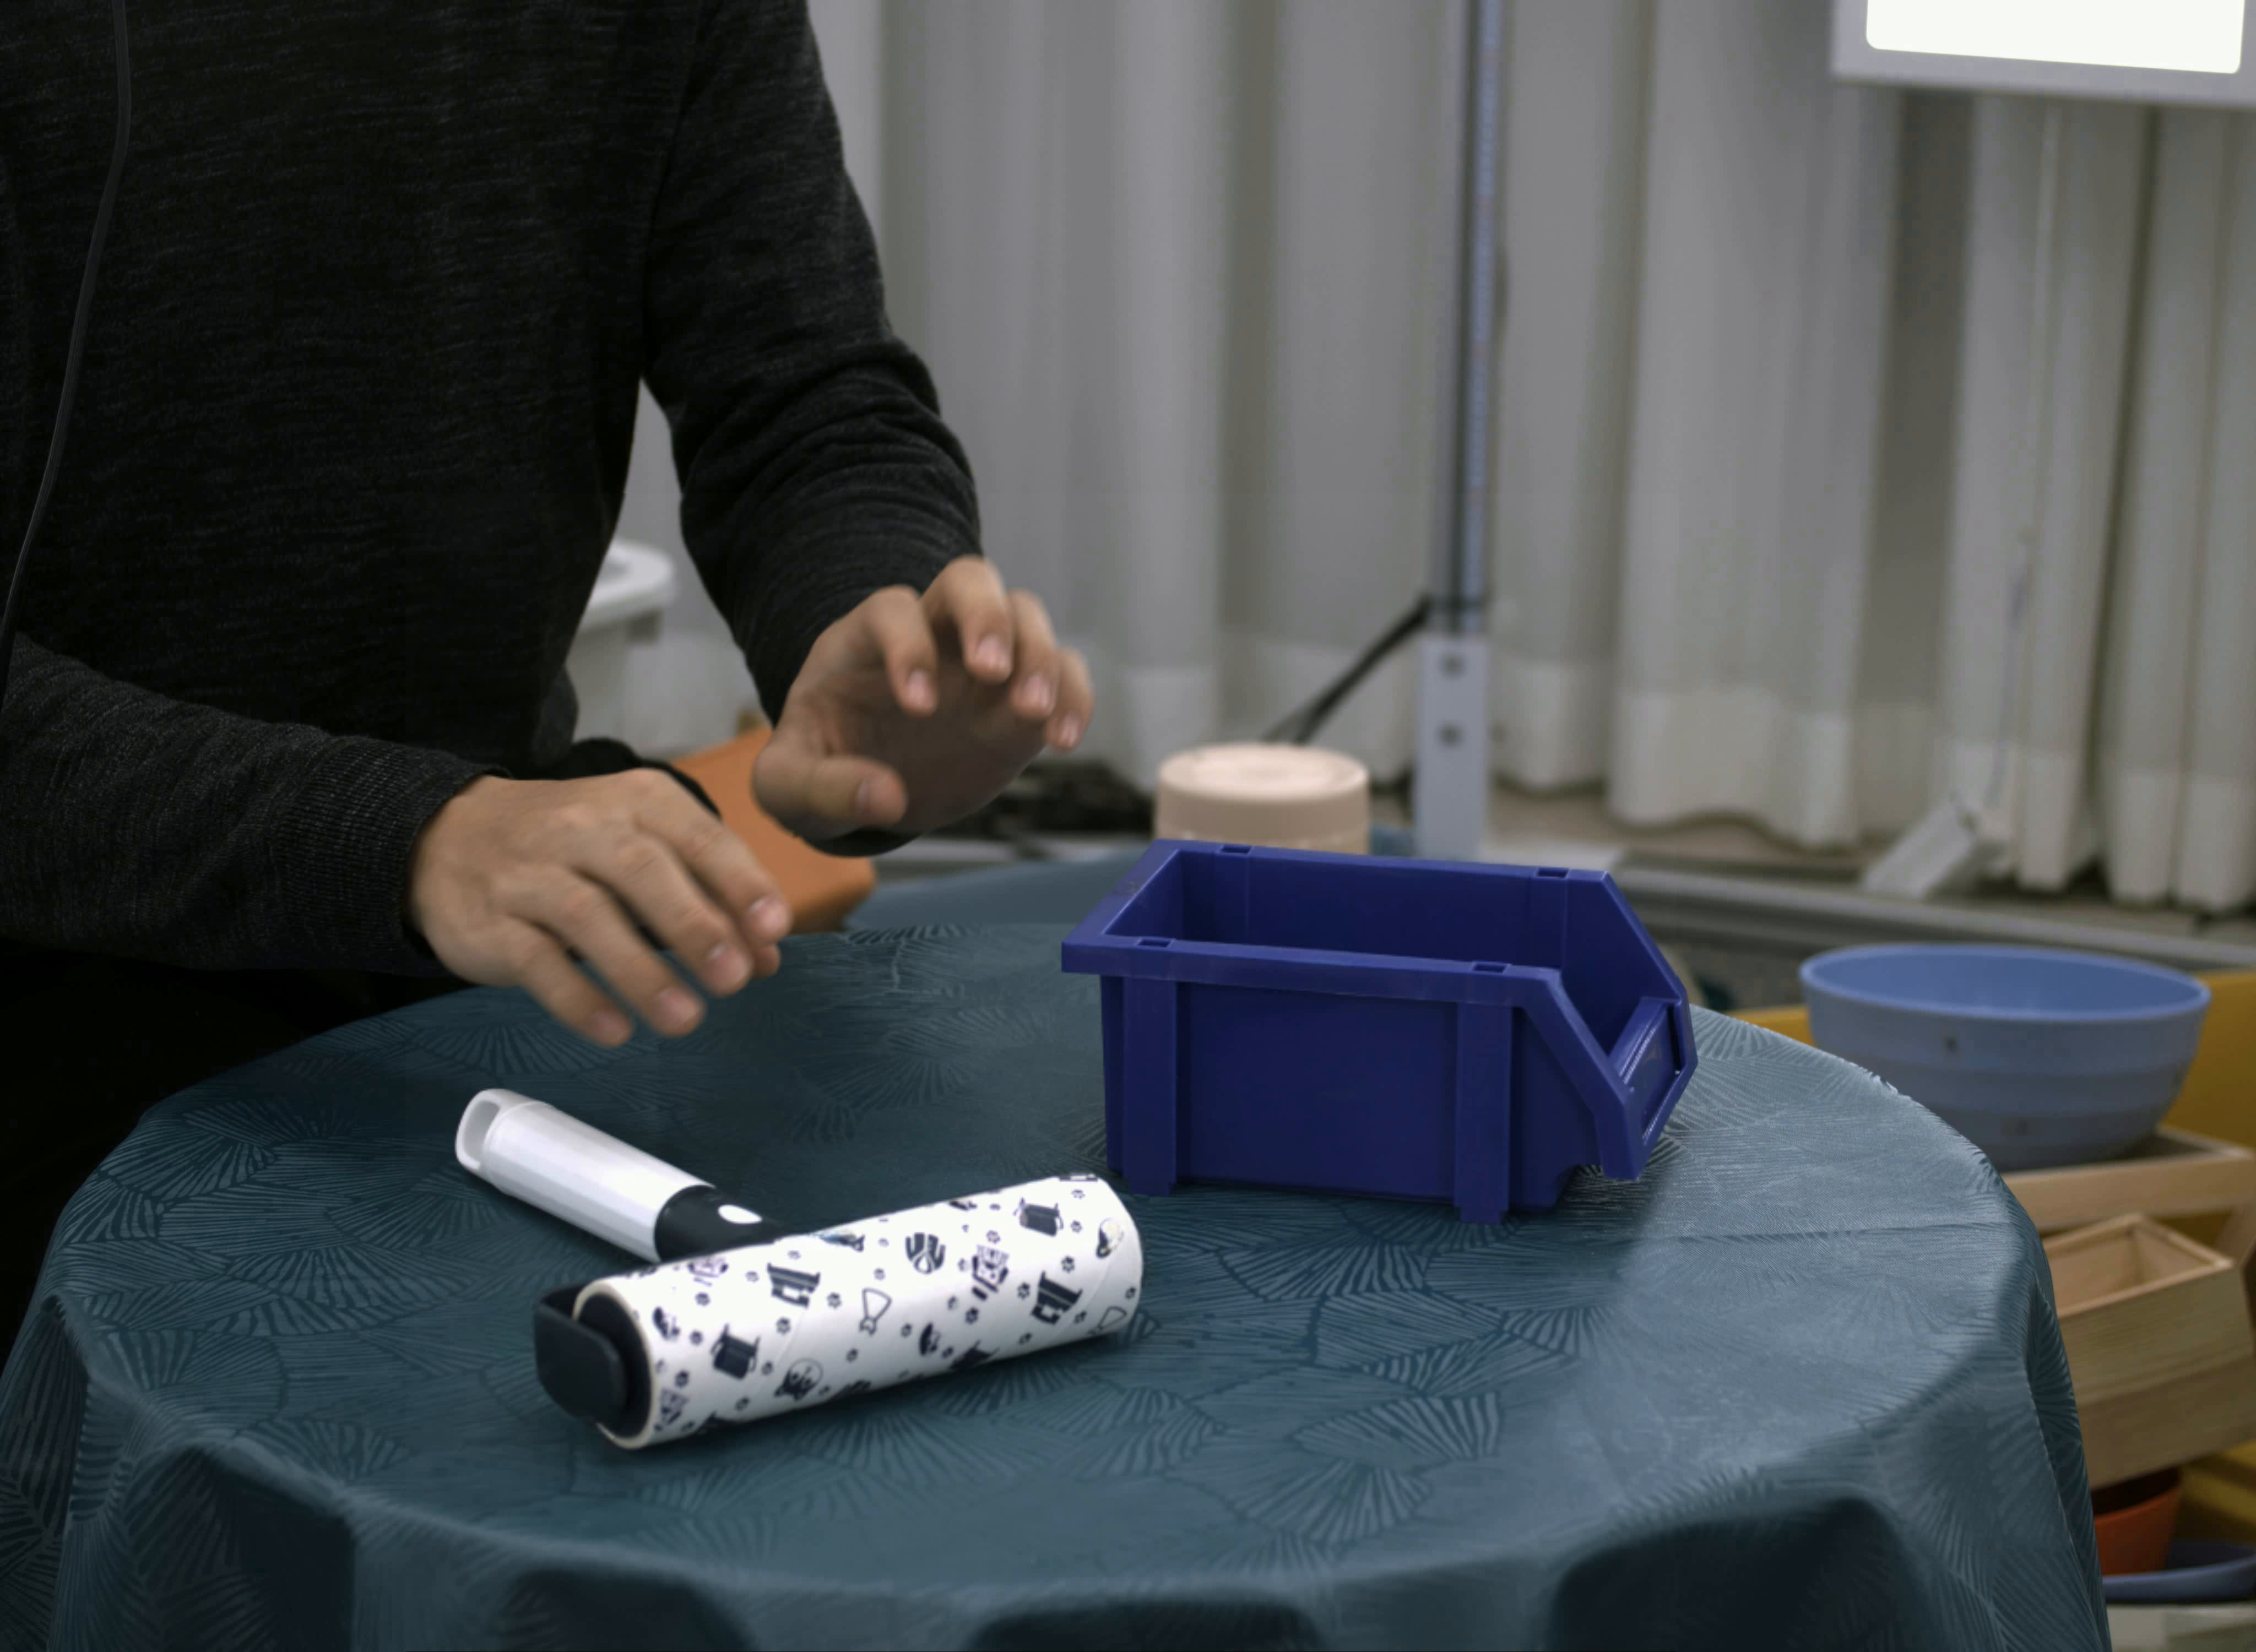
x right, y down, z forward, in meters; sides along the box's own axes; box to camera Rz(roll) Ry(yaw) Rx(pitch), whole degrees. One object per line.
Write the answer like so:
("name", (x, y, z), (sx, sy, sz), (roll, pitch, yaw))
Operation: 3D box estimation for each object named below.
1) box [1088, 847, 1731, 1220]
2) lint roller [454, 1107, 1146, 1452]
("box", (0.091, 0.063, 1.648), (0.178, 0.082, 0.124), (2, 15, 15))
("lint roller", (-0.133, 0.113, 1.533), (0.177, 0.051, 0.244), (-12, 19, -34))
